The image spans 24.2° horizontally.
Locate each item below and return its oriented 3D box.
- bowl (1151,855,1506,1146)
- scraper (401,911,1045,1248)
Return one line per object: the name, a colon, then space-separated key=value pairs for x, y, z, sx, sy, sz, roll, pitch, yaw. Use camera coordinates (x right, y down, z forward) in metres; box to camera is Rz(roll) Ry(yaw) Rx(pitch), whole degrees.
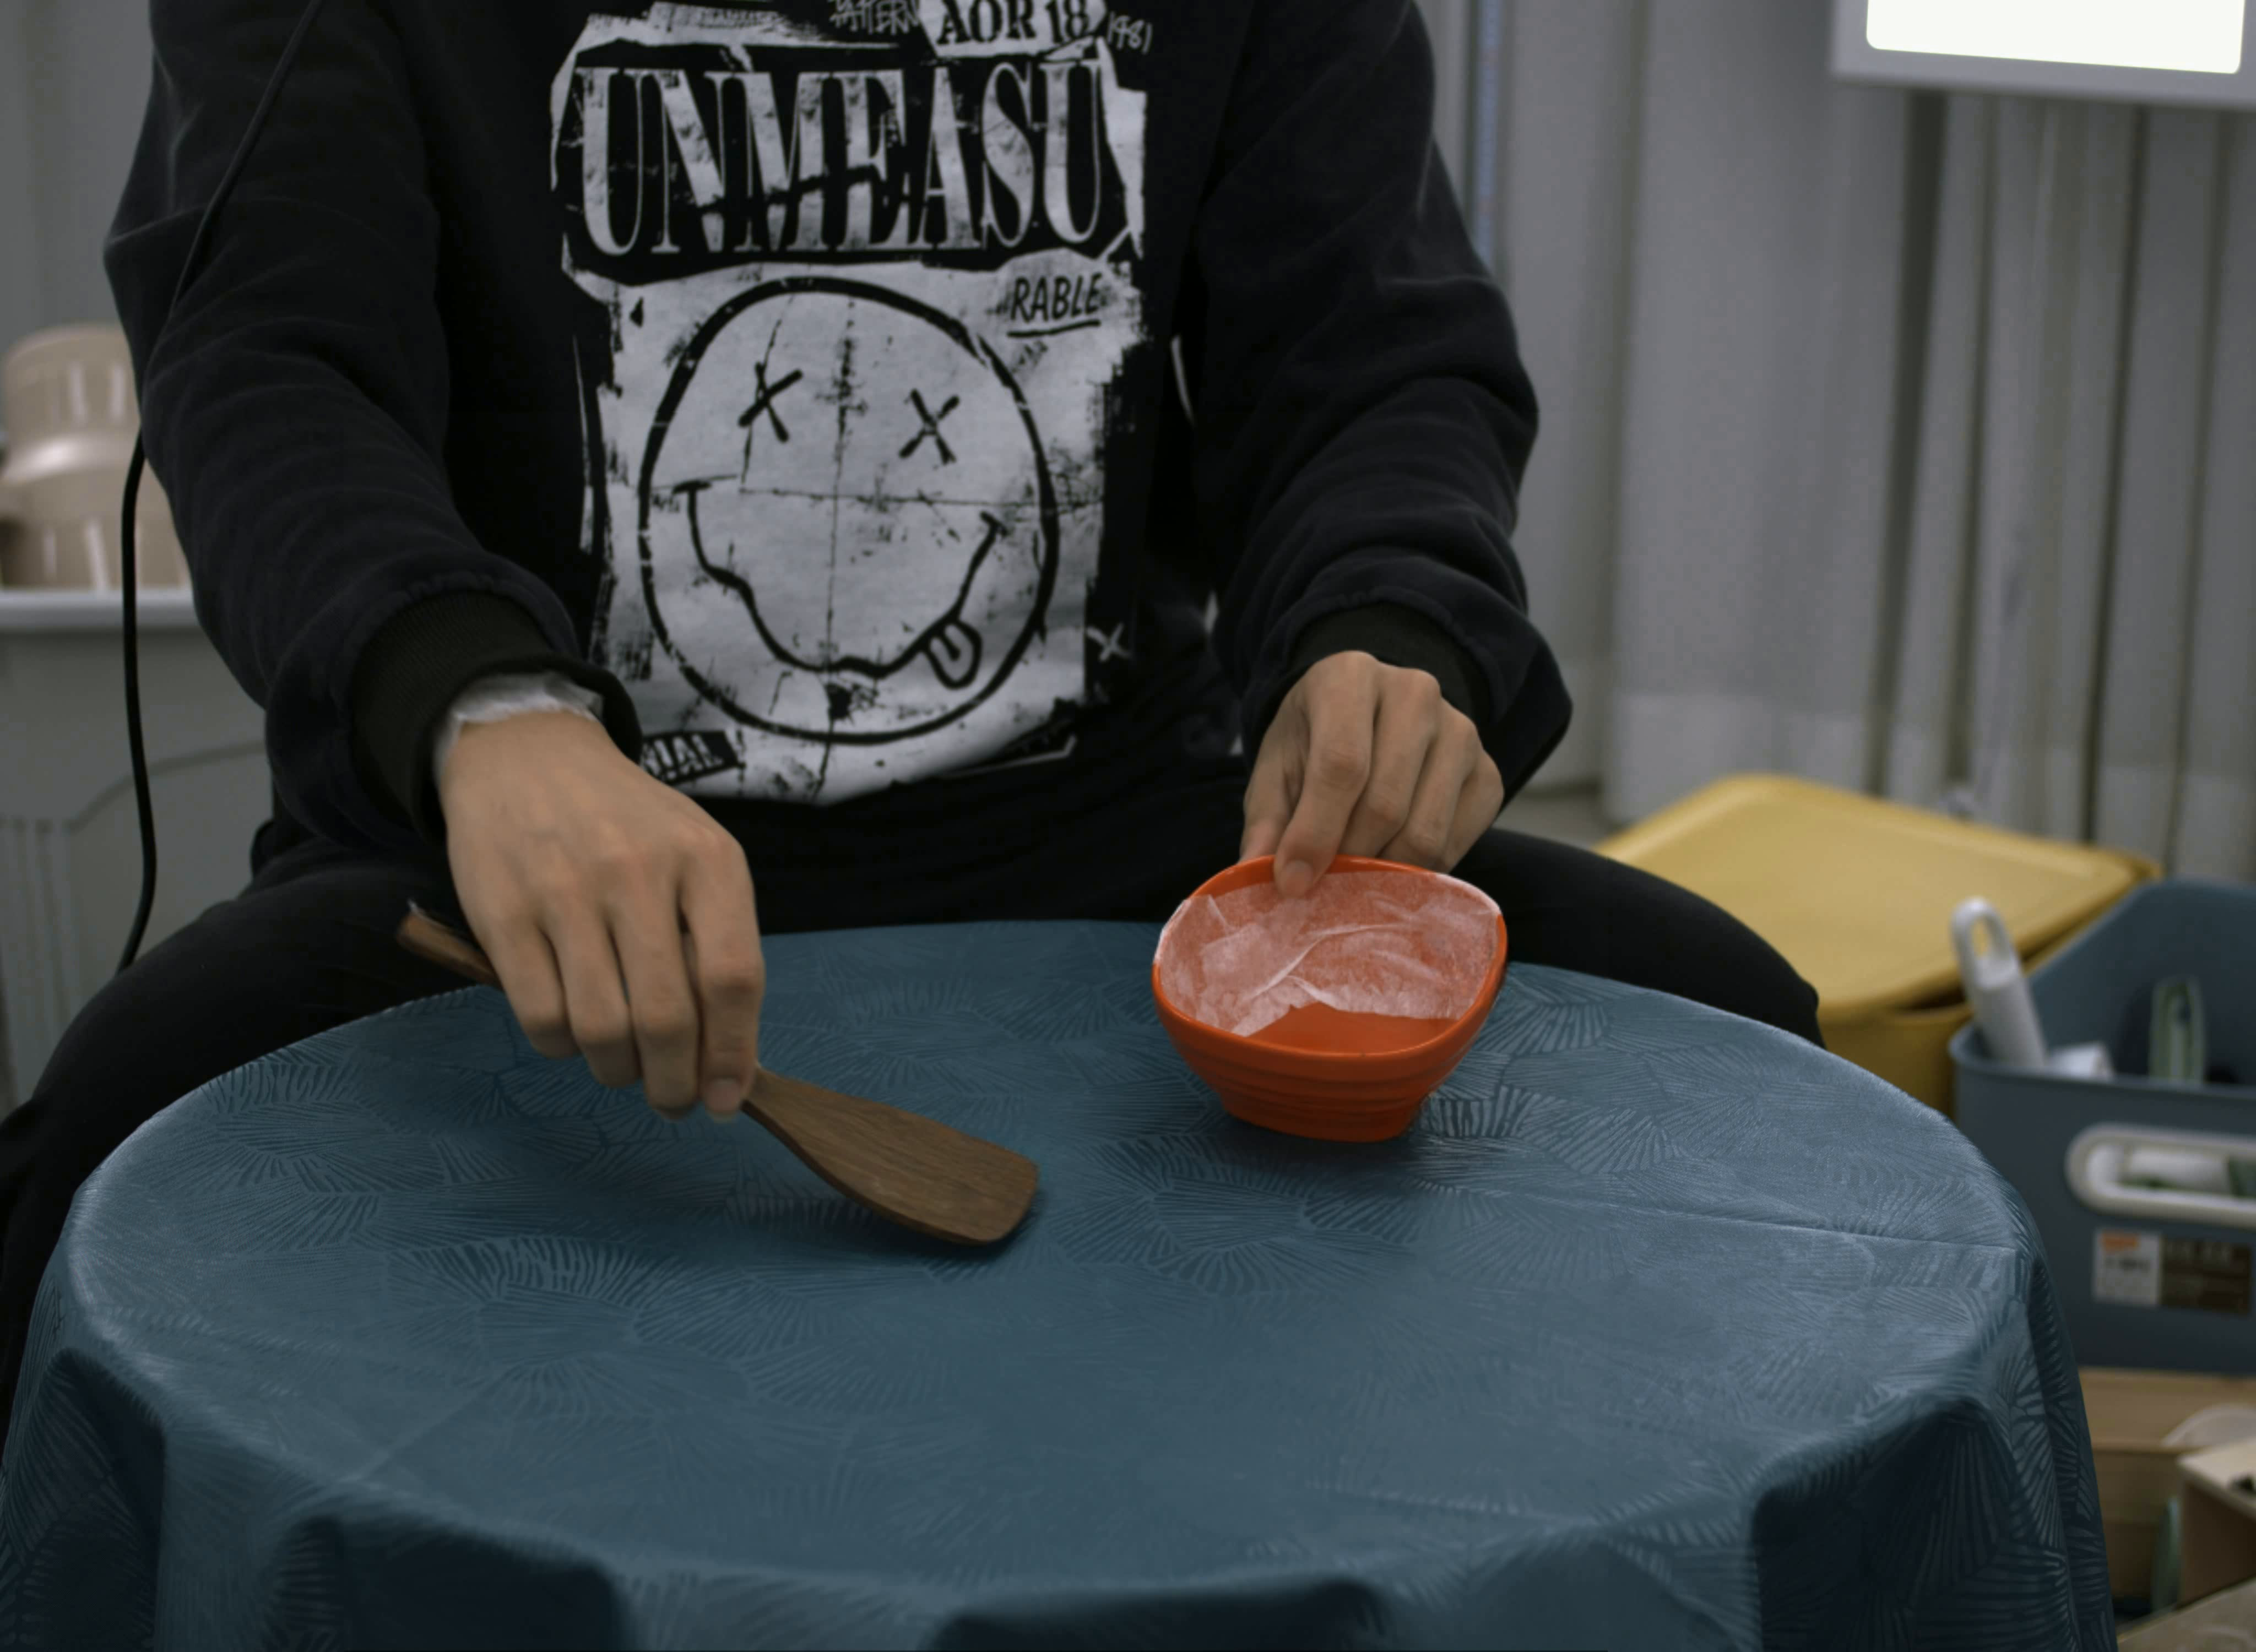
bowl: x=0.065 y=0.061 z=1.688 sx=0.118 sy=0.052 sz=0.118 roll=-1 pitch=35 yaw=1
scraper: x=-0.124 y=0.075 z=1.599 sx=0.210 sy=0.011 sz=0.075 roll=26 pitch=20 yaw=2
